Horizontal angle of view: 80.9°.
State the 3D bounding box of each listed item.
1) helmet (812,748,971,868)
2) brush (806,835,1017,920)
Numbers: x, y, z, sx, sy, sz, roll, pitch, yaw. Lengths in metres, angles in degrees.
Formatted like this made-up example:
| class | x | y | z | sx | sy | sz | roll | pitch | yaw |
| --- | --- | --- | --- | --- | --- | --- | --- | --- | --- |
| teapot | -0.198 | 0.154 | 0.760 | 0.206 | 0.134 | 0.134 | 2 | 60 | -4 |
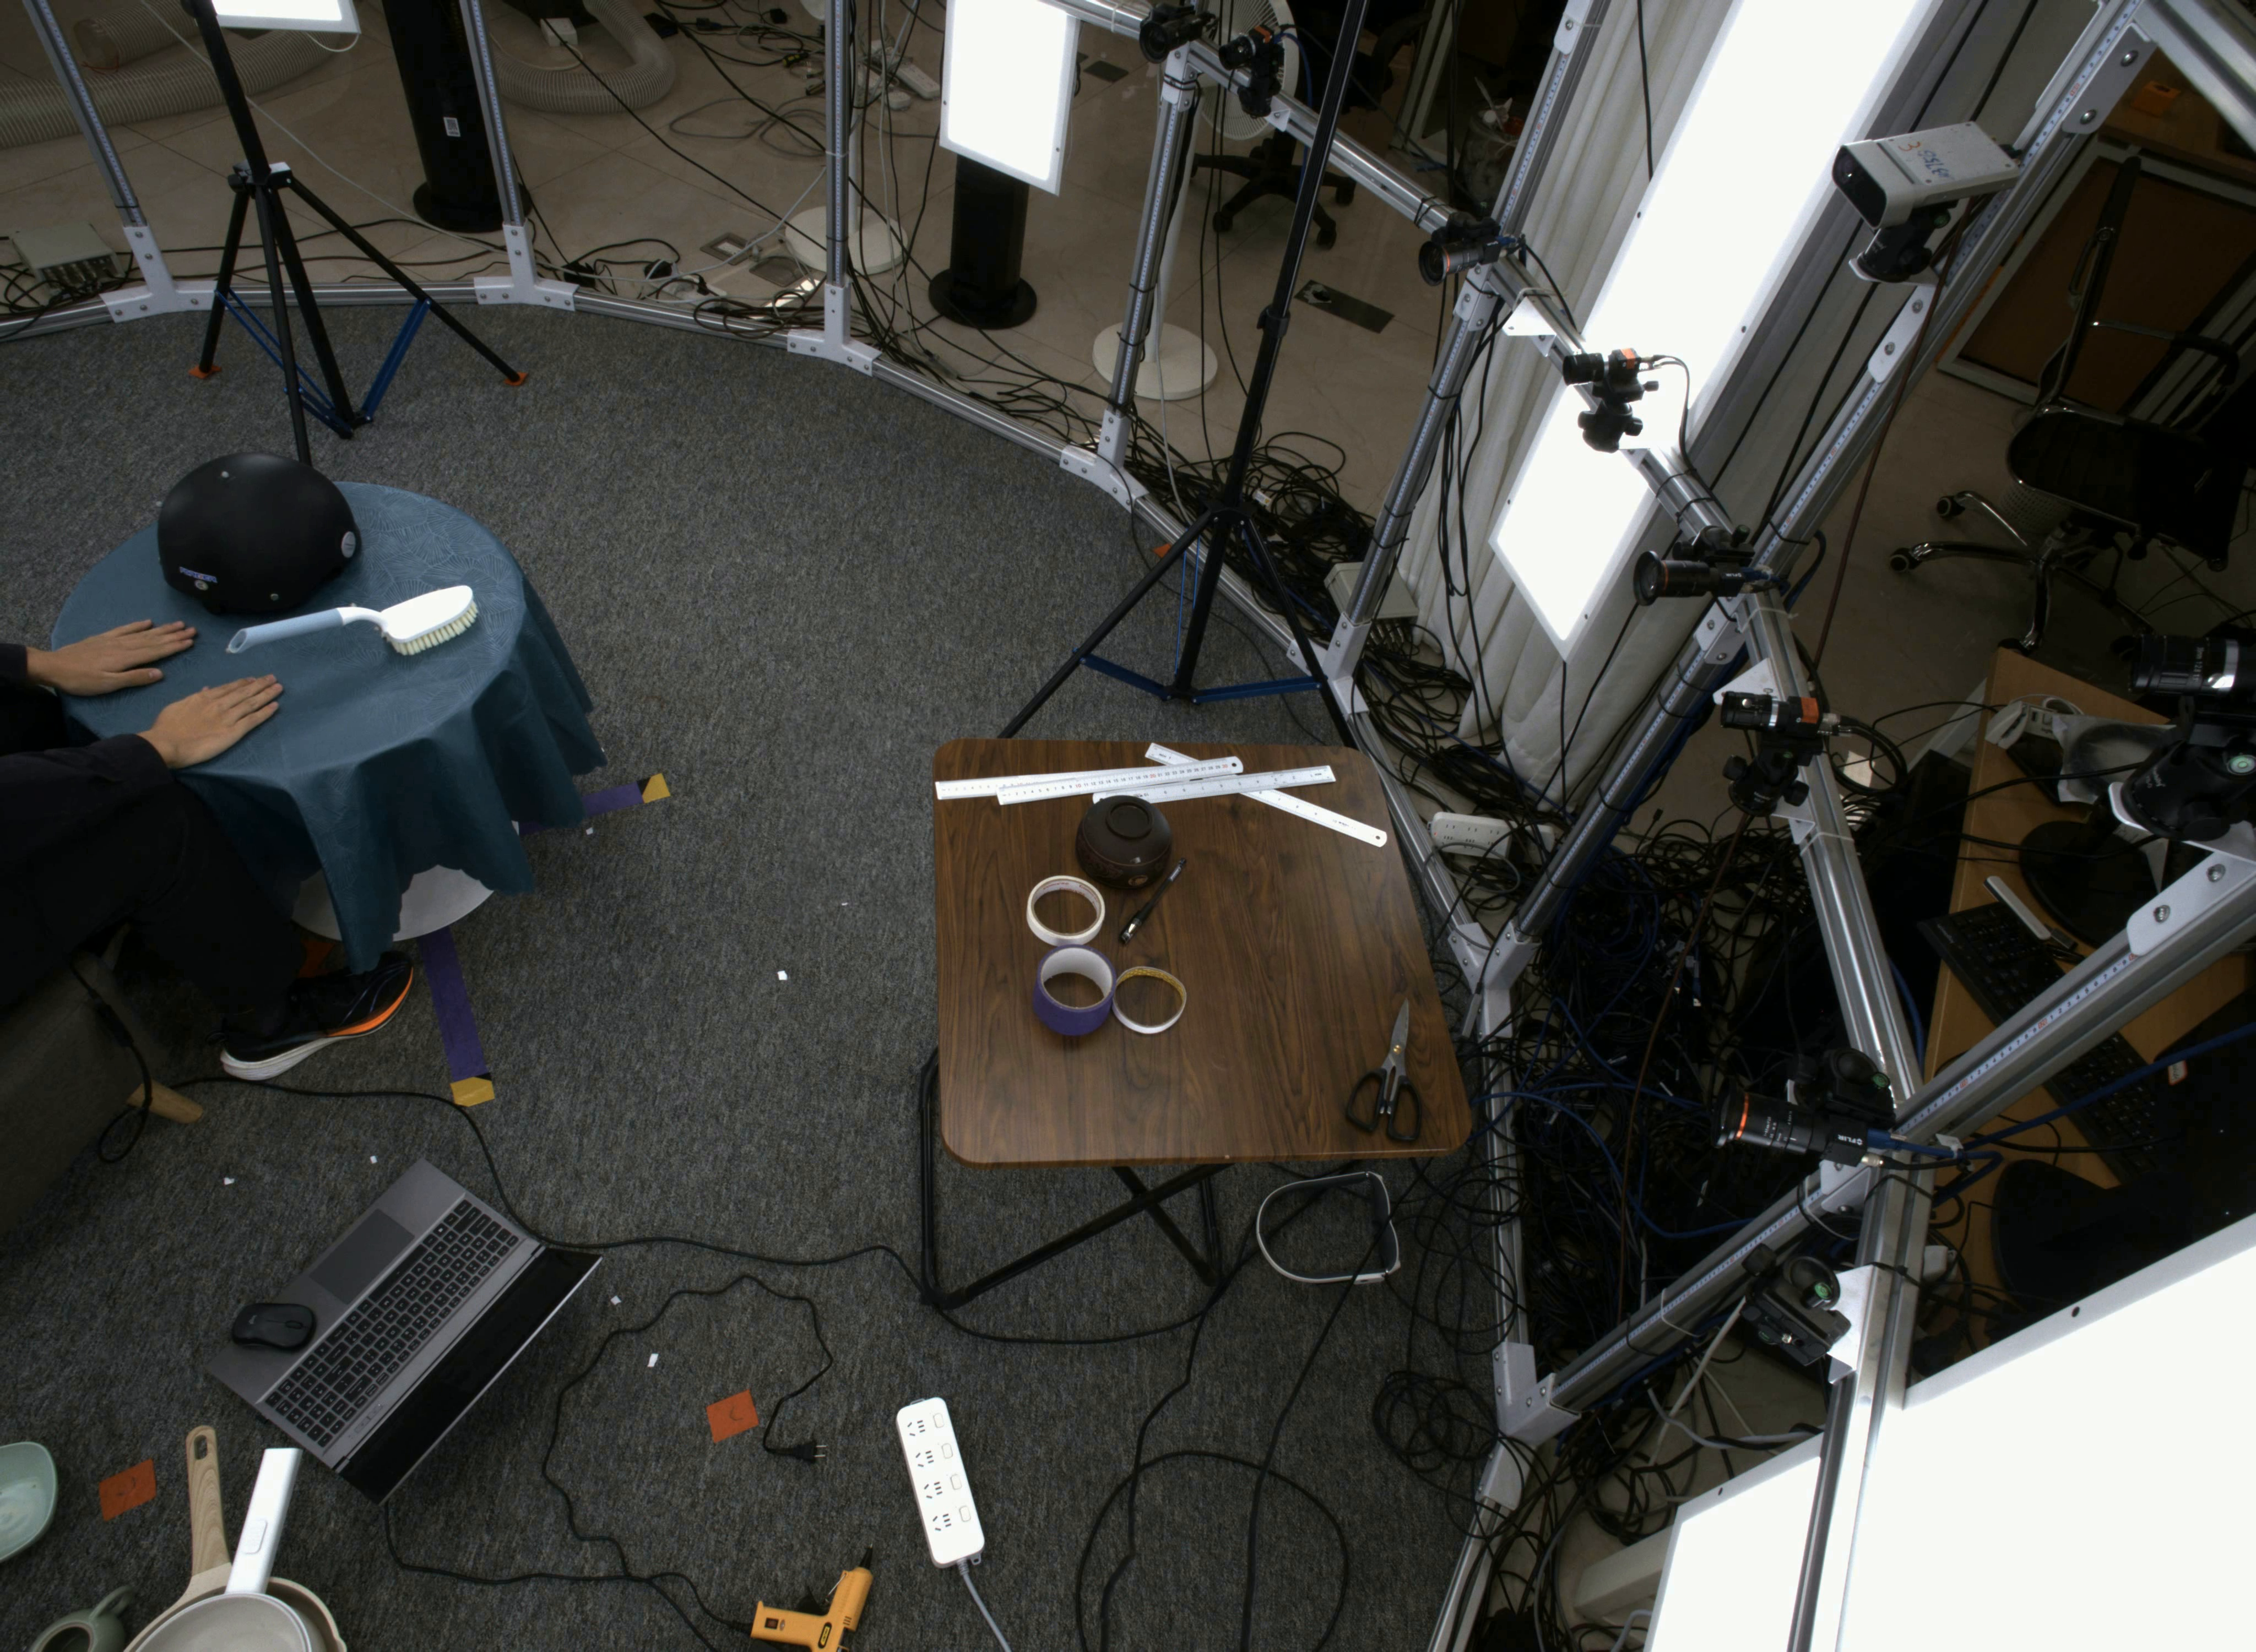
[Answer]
| class | x | y | z | sx | sy | sz | roll | pitch | yaw |
| --- | --- | --- | --- | --- | --- | --- | --- | --- | --- |
| helmet | -0.383 | -0.044 | 2.145 | 0.277 | 0.171 | 0.221 | -12 | 32 | -42 |
| brush | -0.325 | 0.088 | 1.951 | 0.329 | 0.084 | 0.082 | 12 | -16 | -20 |
